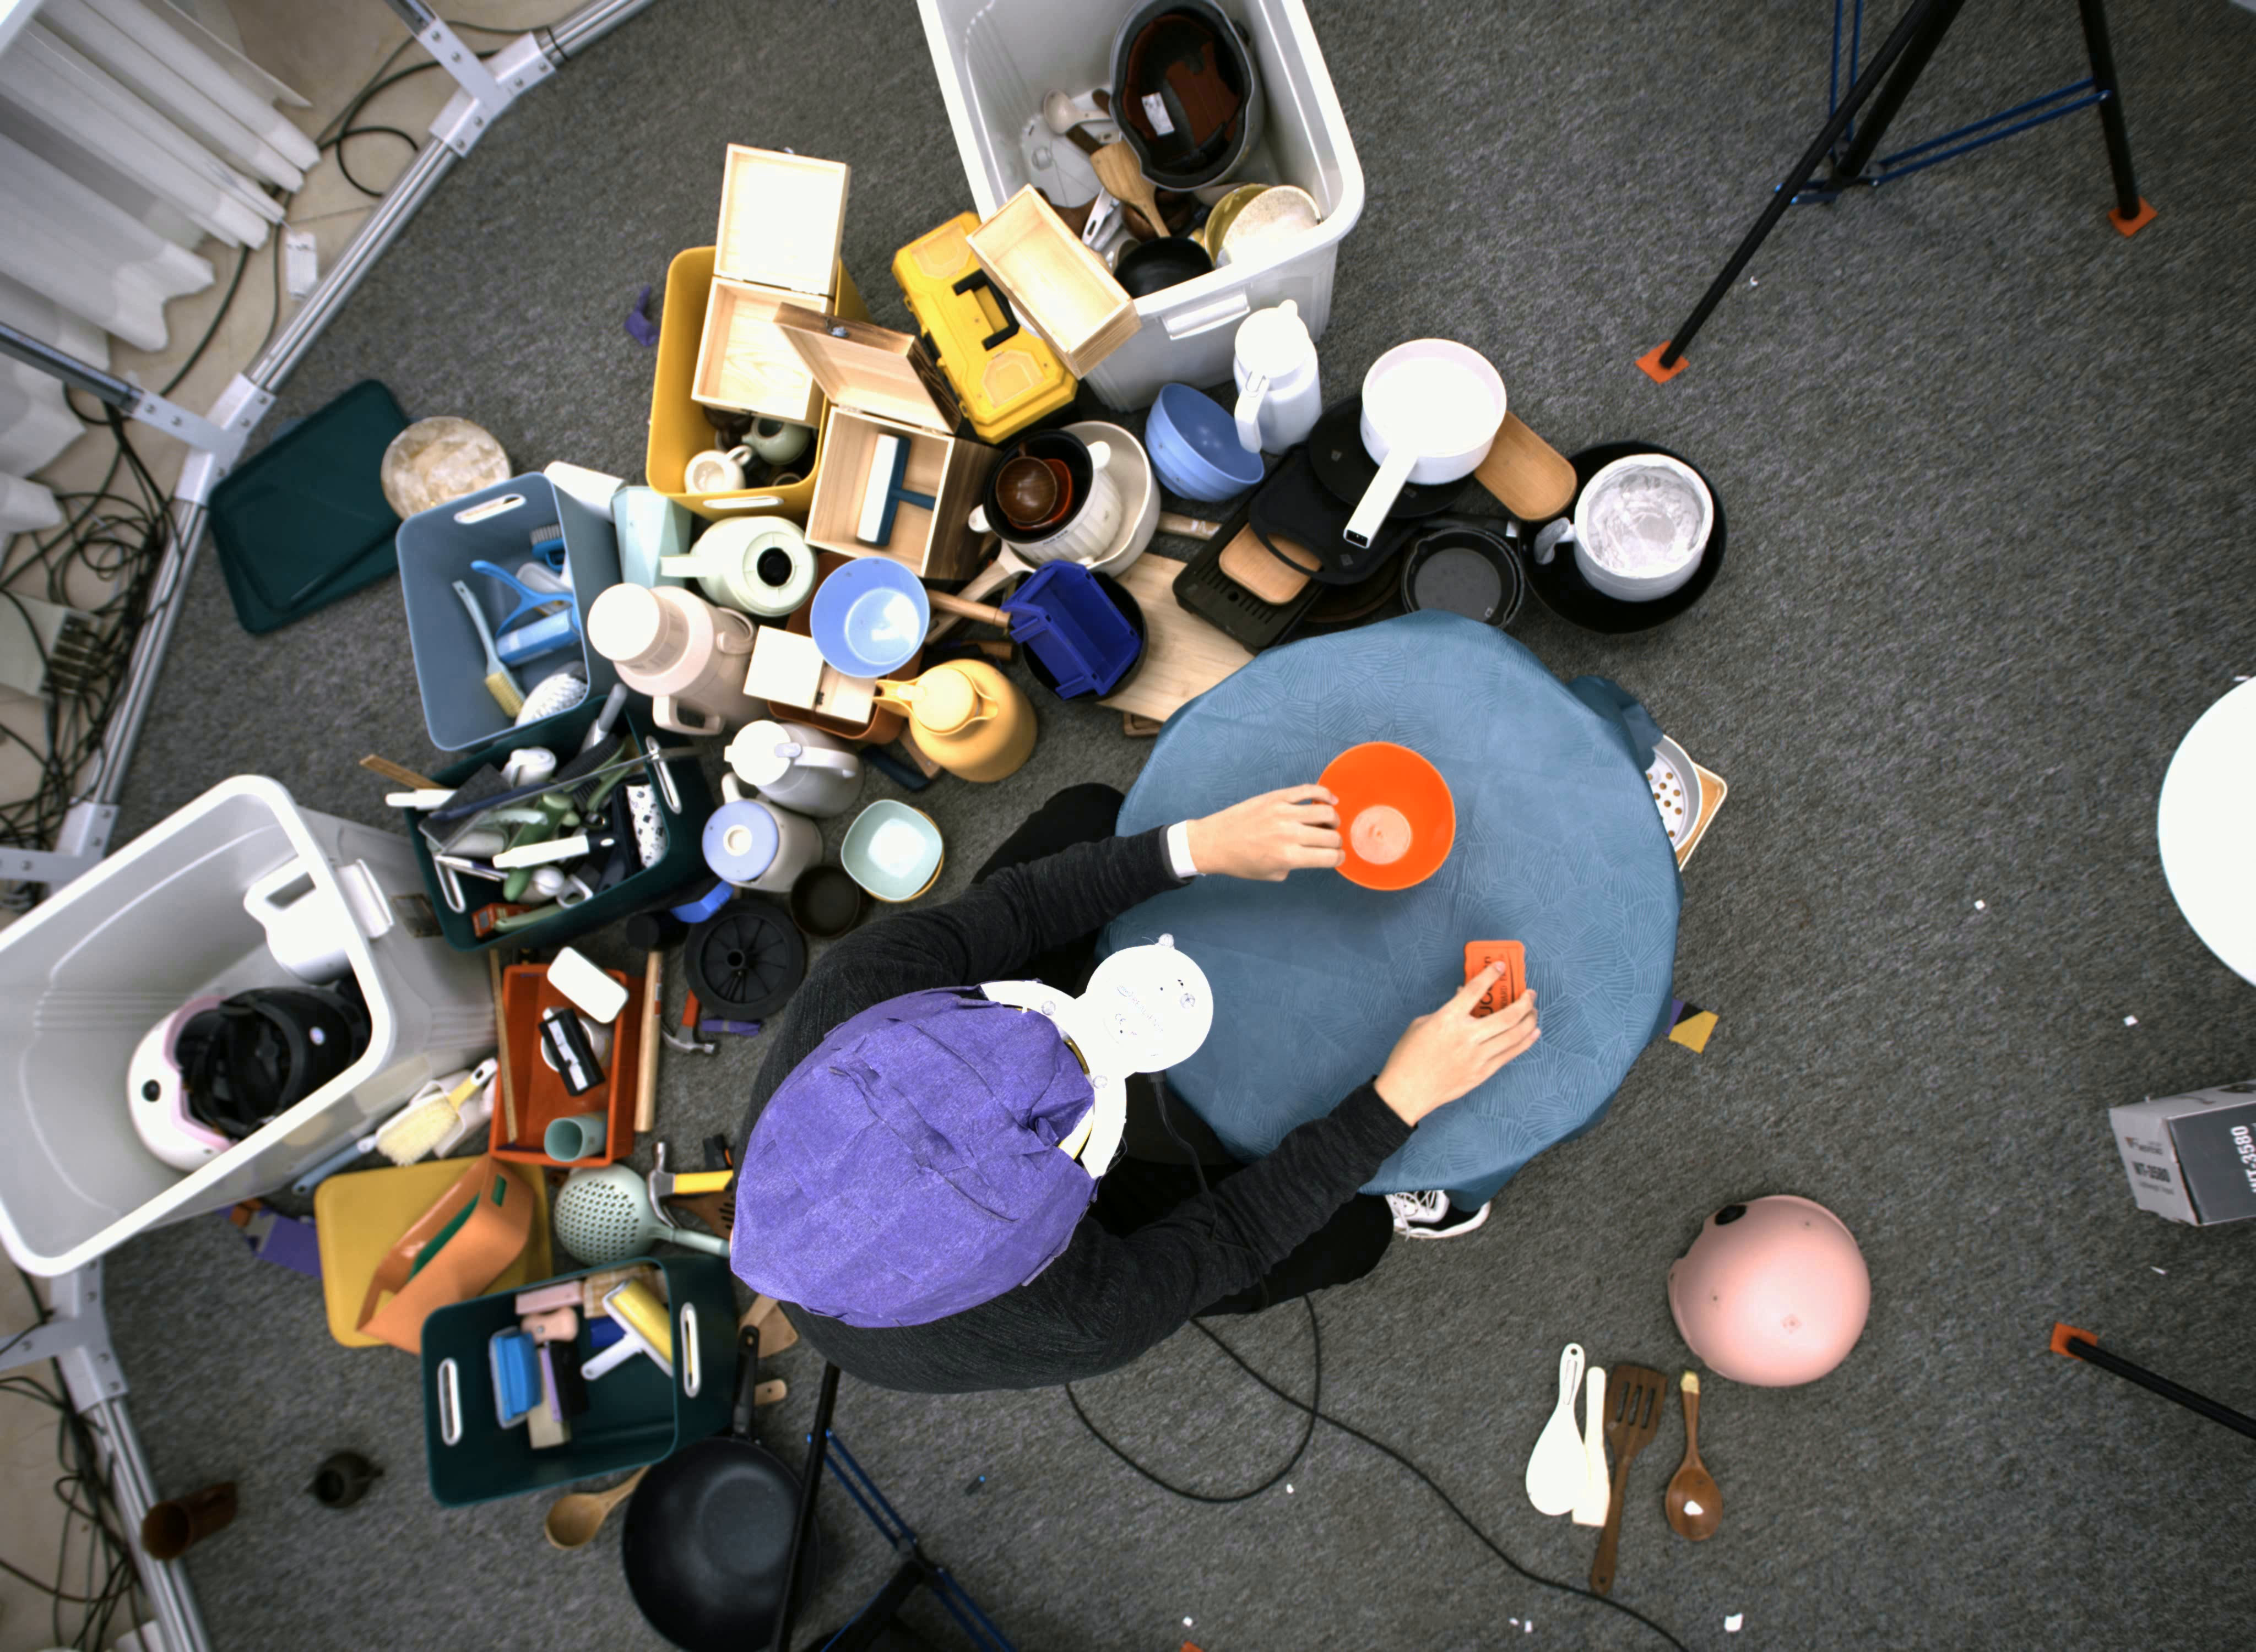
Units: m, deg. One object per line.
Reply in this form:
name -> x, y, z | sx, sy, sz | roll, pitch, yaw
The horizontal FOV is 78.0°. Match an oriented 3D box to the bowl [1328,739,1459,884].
bowl -> 0.246, -0.001, 1.359 | 0.148, 0.107, 0.144 | 9, 56, -14

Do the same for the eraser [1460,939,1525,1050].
eraser -> 0.360, 0.164, 1.360 | 0.059, 0.023, 0.107 | -2, 88, 7
